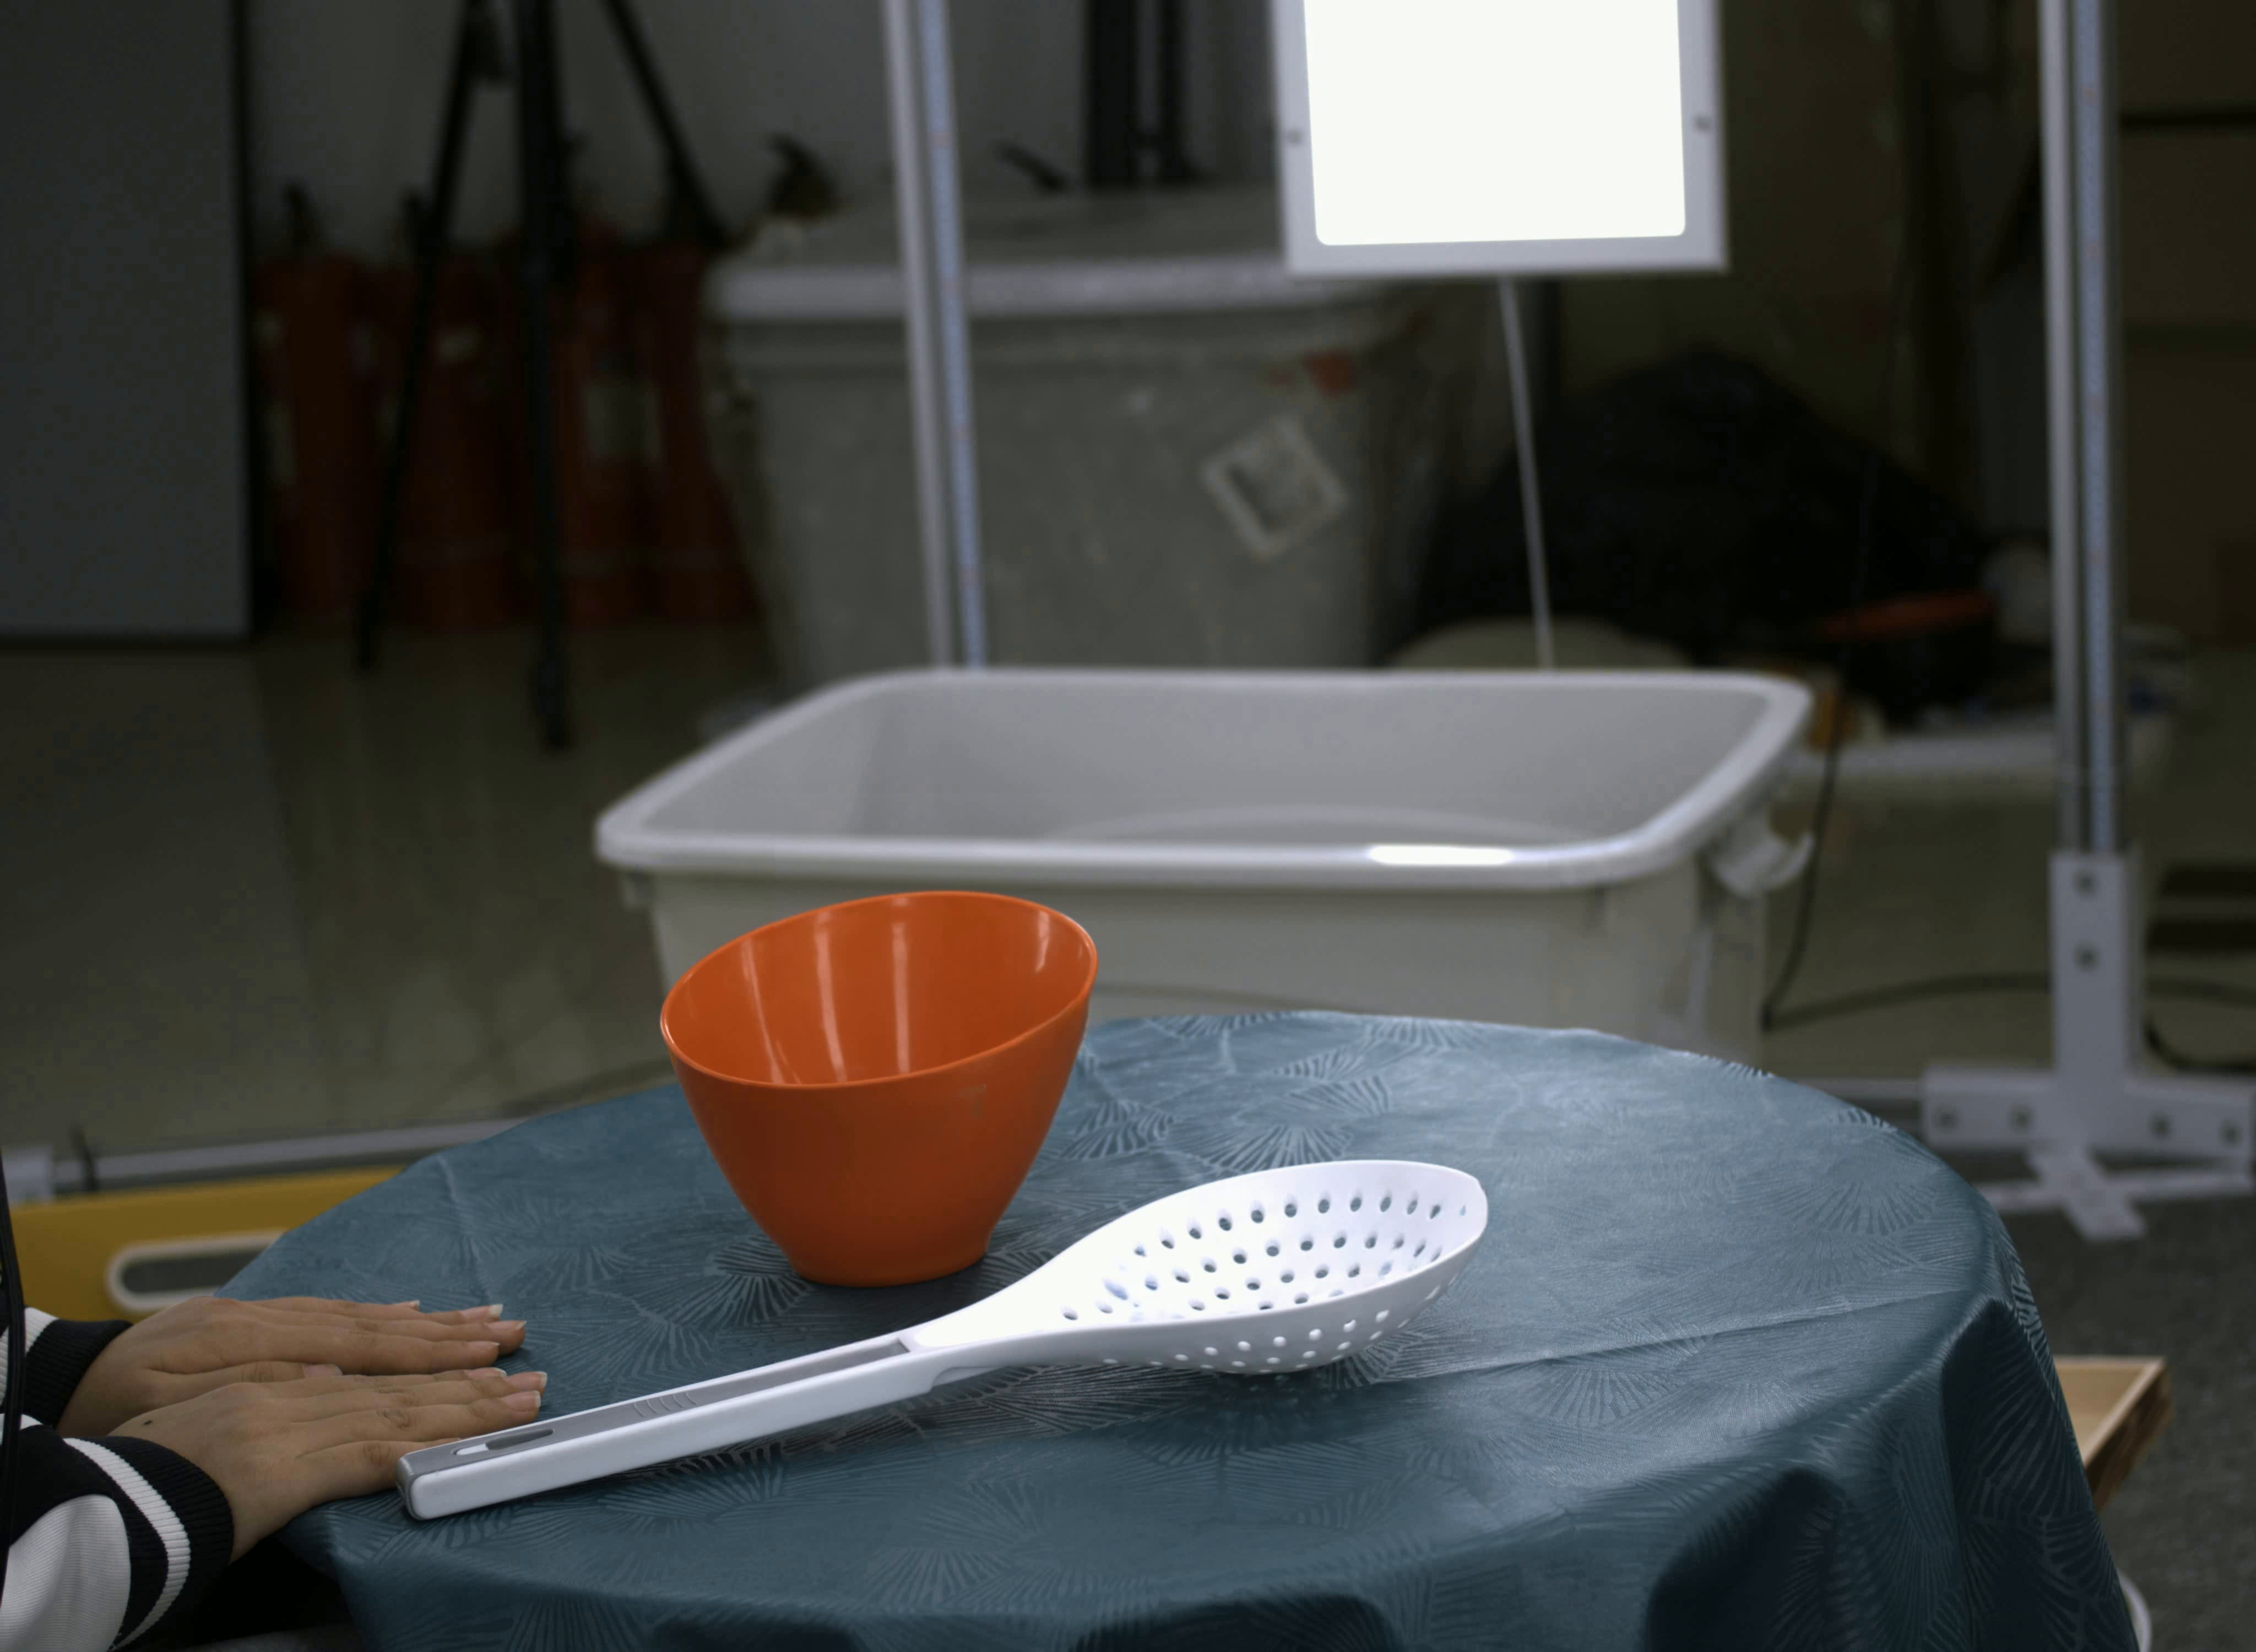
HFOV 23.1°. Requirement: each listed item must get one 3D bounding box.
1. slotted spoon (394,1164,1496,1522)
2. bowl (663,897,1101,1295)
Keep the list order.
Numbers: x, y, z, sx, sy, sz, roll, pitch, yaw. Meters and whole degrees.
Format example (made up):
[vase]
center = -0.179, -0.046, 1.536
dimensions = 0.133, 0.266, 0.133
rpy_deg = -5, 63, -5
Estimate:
[slotted spoon]
center = -0.053, 0.160, 1.688
dimensions = 0.345, 0.046, 0.137
rpy_deg = -9, 13, -13
[bowl]
center = -0.081, 0.094, 1.850
dimensions = 0.147, 0.105, 0.148
rpy_deg = -3, 15, -1
